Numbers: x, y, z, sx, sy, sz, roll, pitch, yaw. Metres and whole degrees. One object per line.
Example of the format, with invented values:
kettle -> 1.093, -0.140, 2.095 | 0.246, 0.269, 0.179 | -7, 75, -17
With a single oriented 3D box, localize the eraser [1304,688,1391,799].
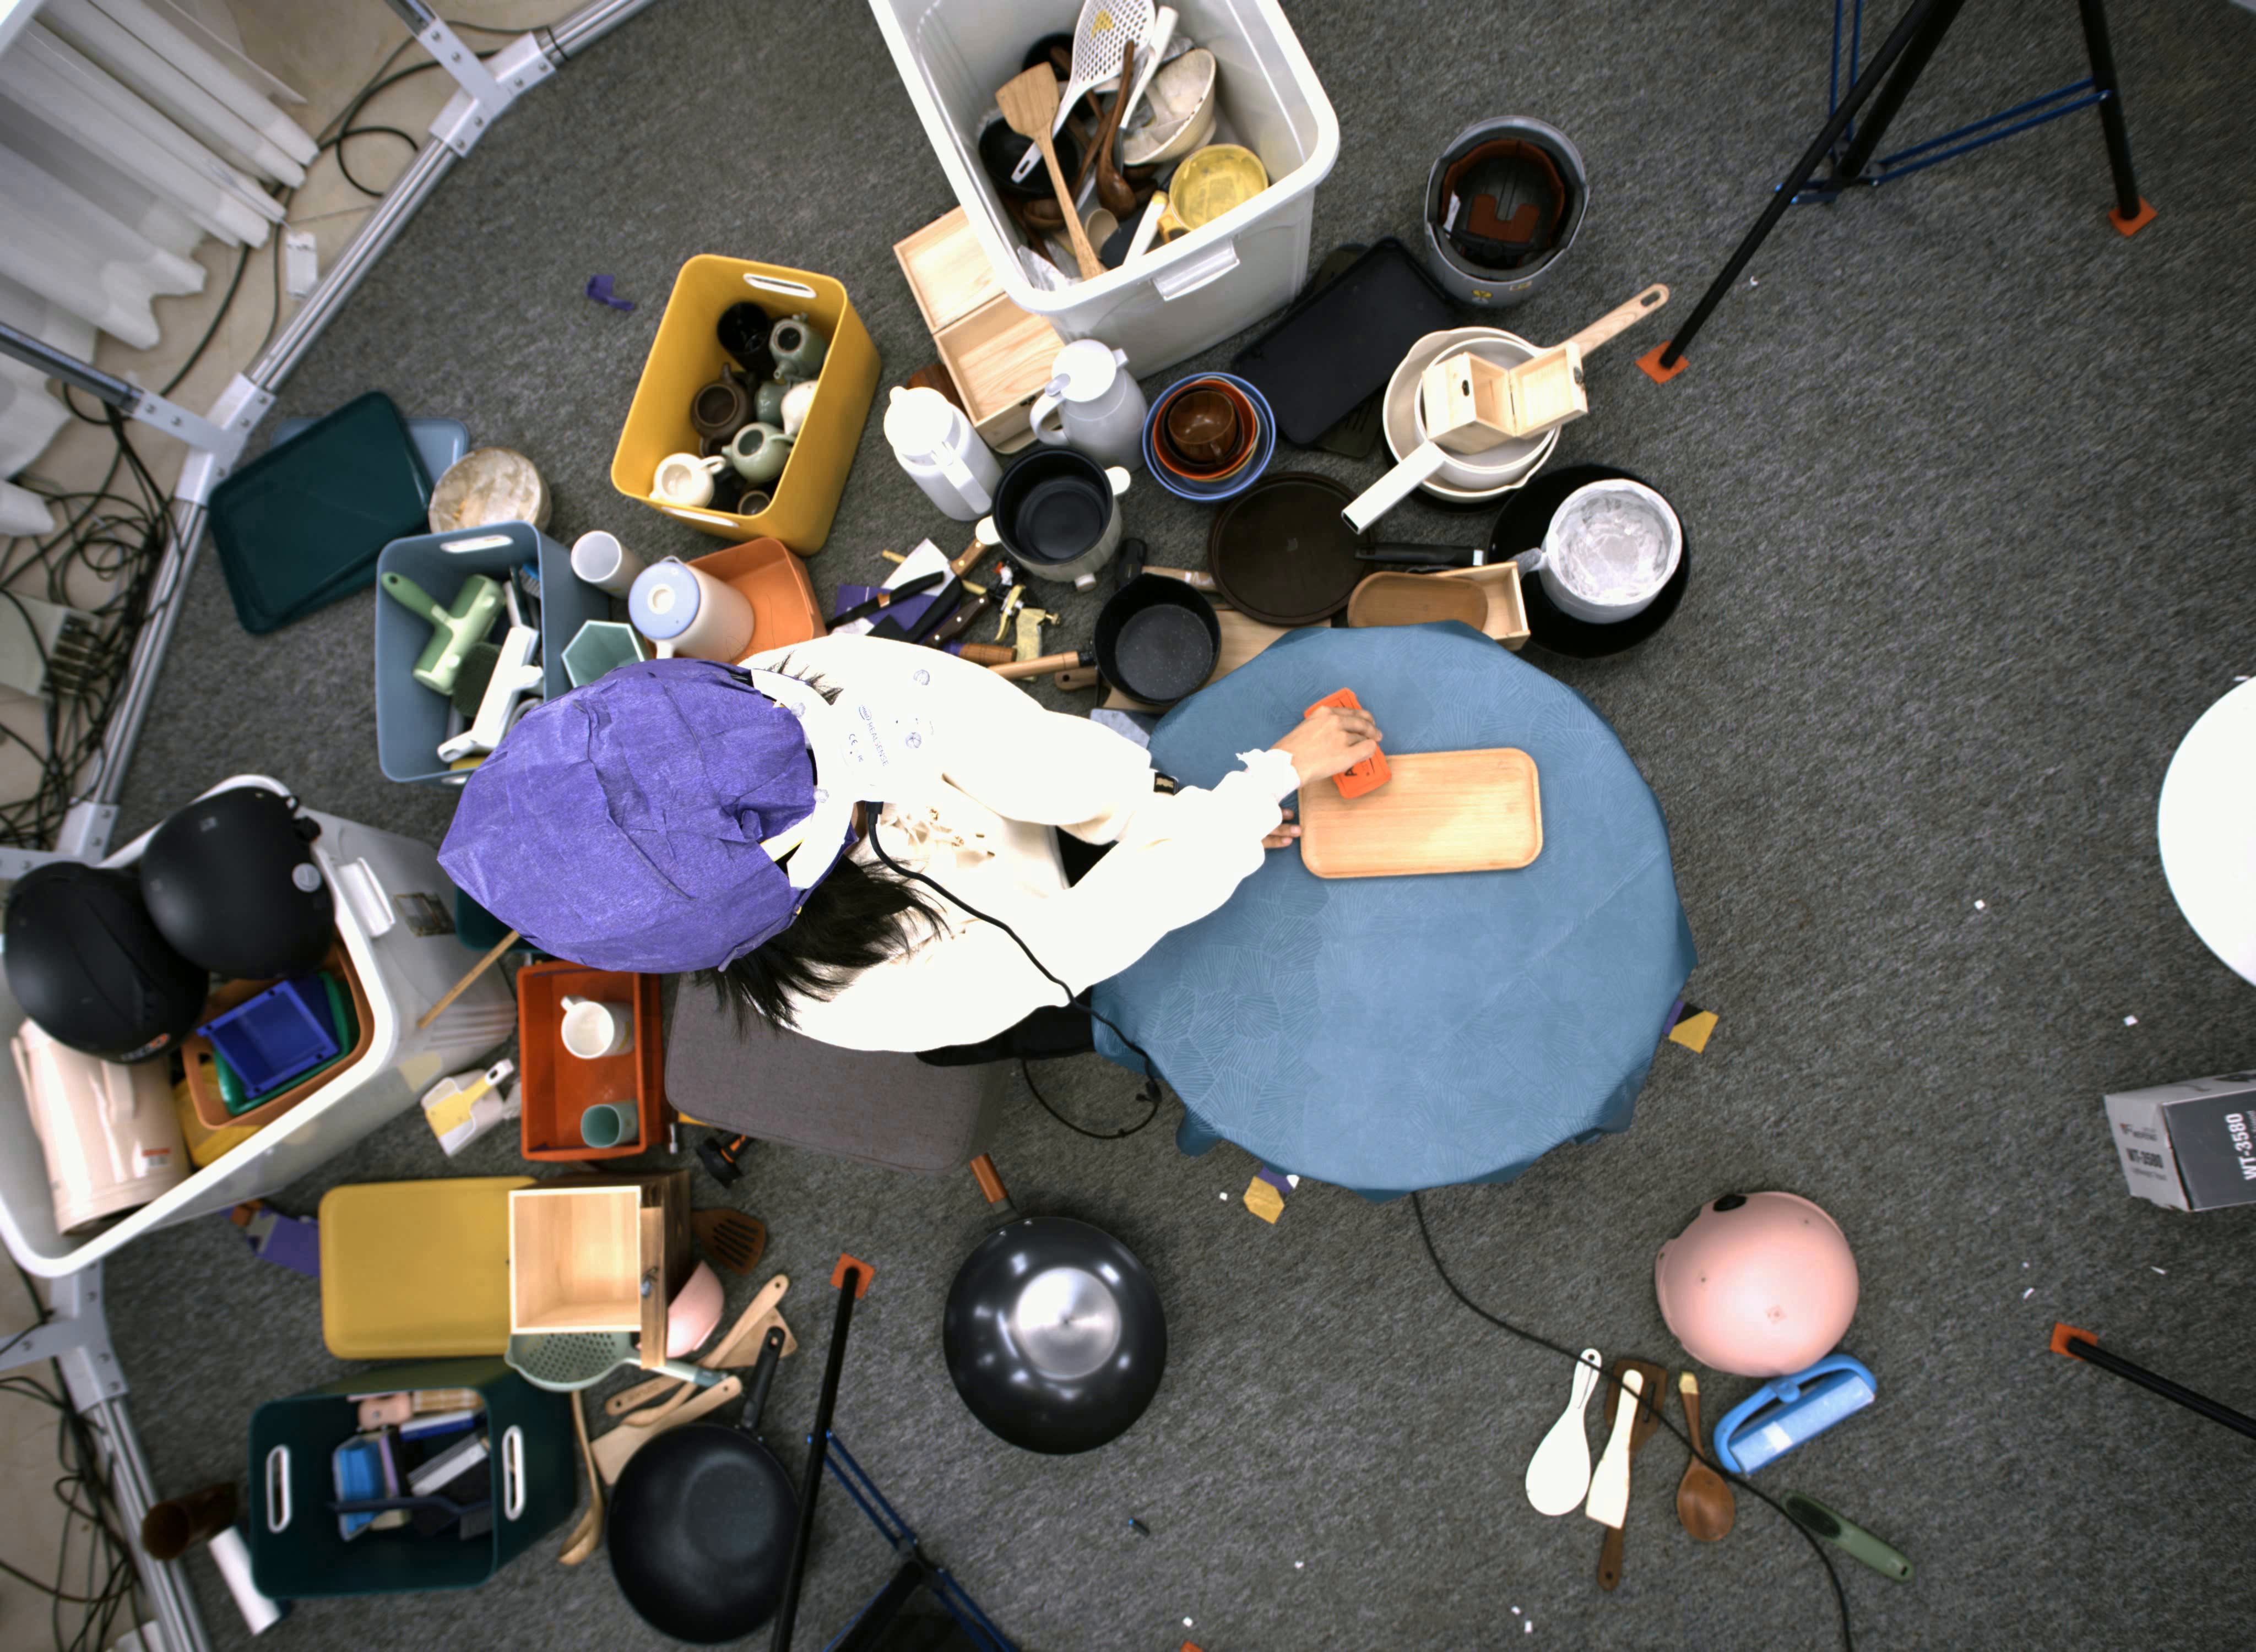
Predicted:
eraser -> 0.230, -0.088, 1.446 | 0.059, 0.023, 0.107 | -25, 85, 15

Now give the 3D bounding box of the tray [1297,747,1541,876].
tray -> 0.305, -0.016, 1.449 | 0.252, 0.023, 0.129 | -2, 84, 11
